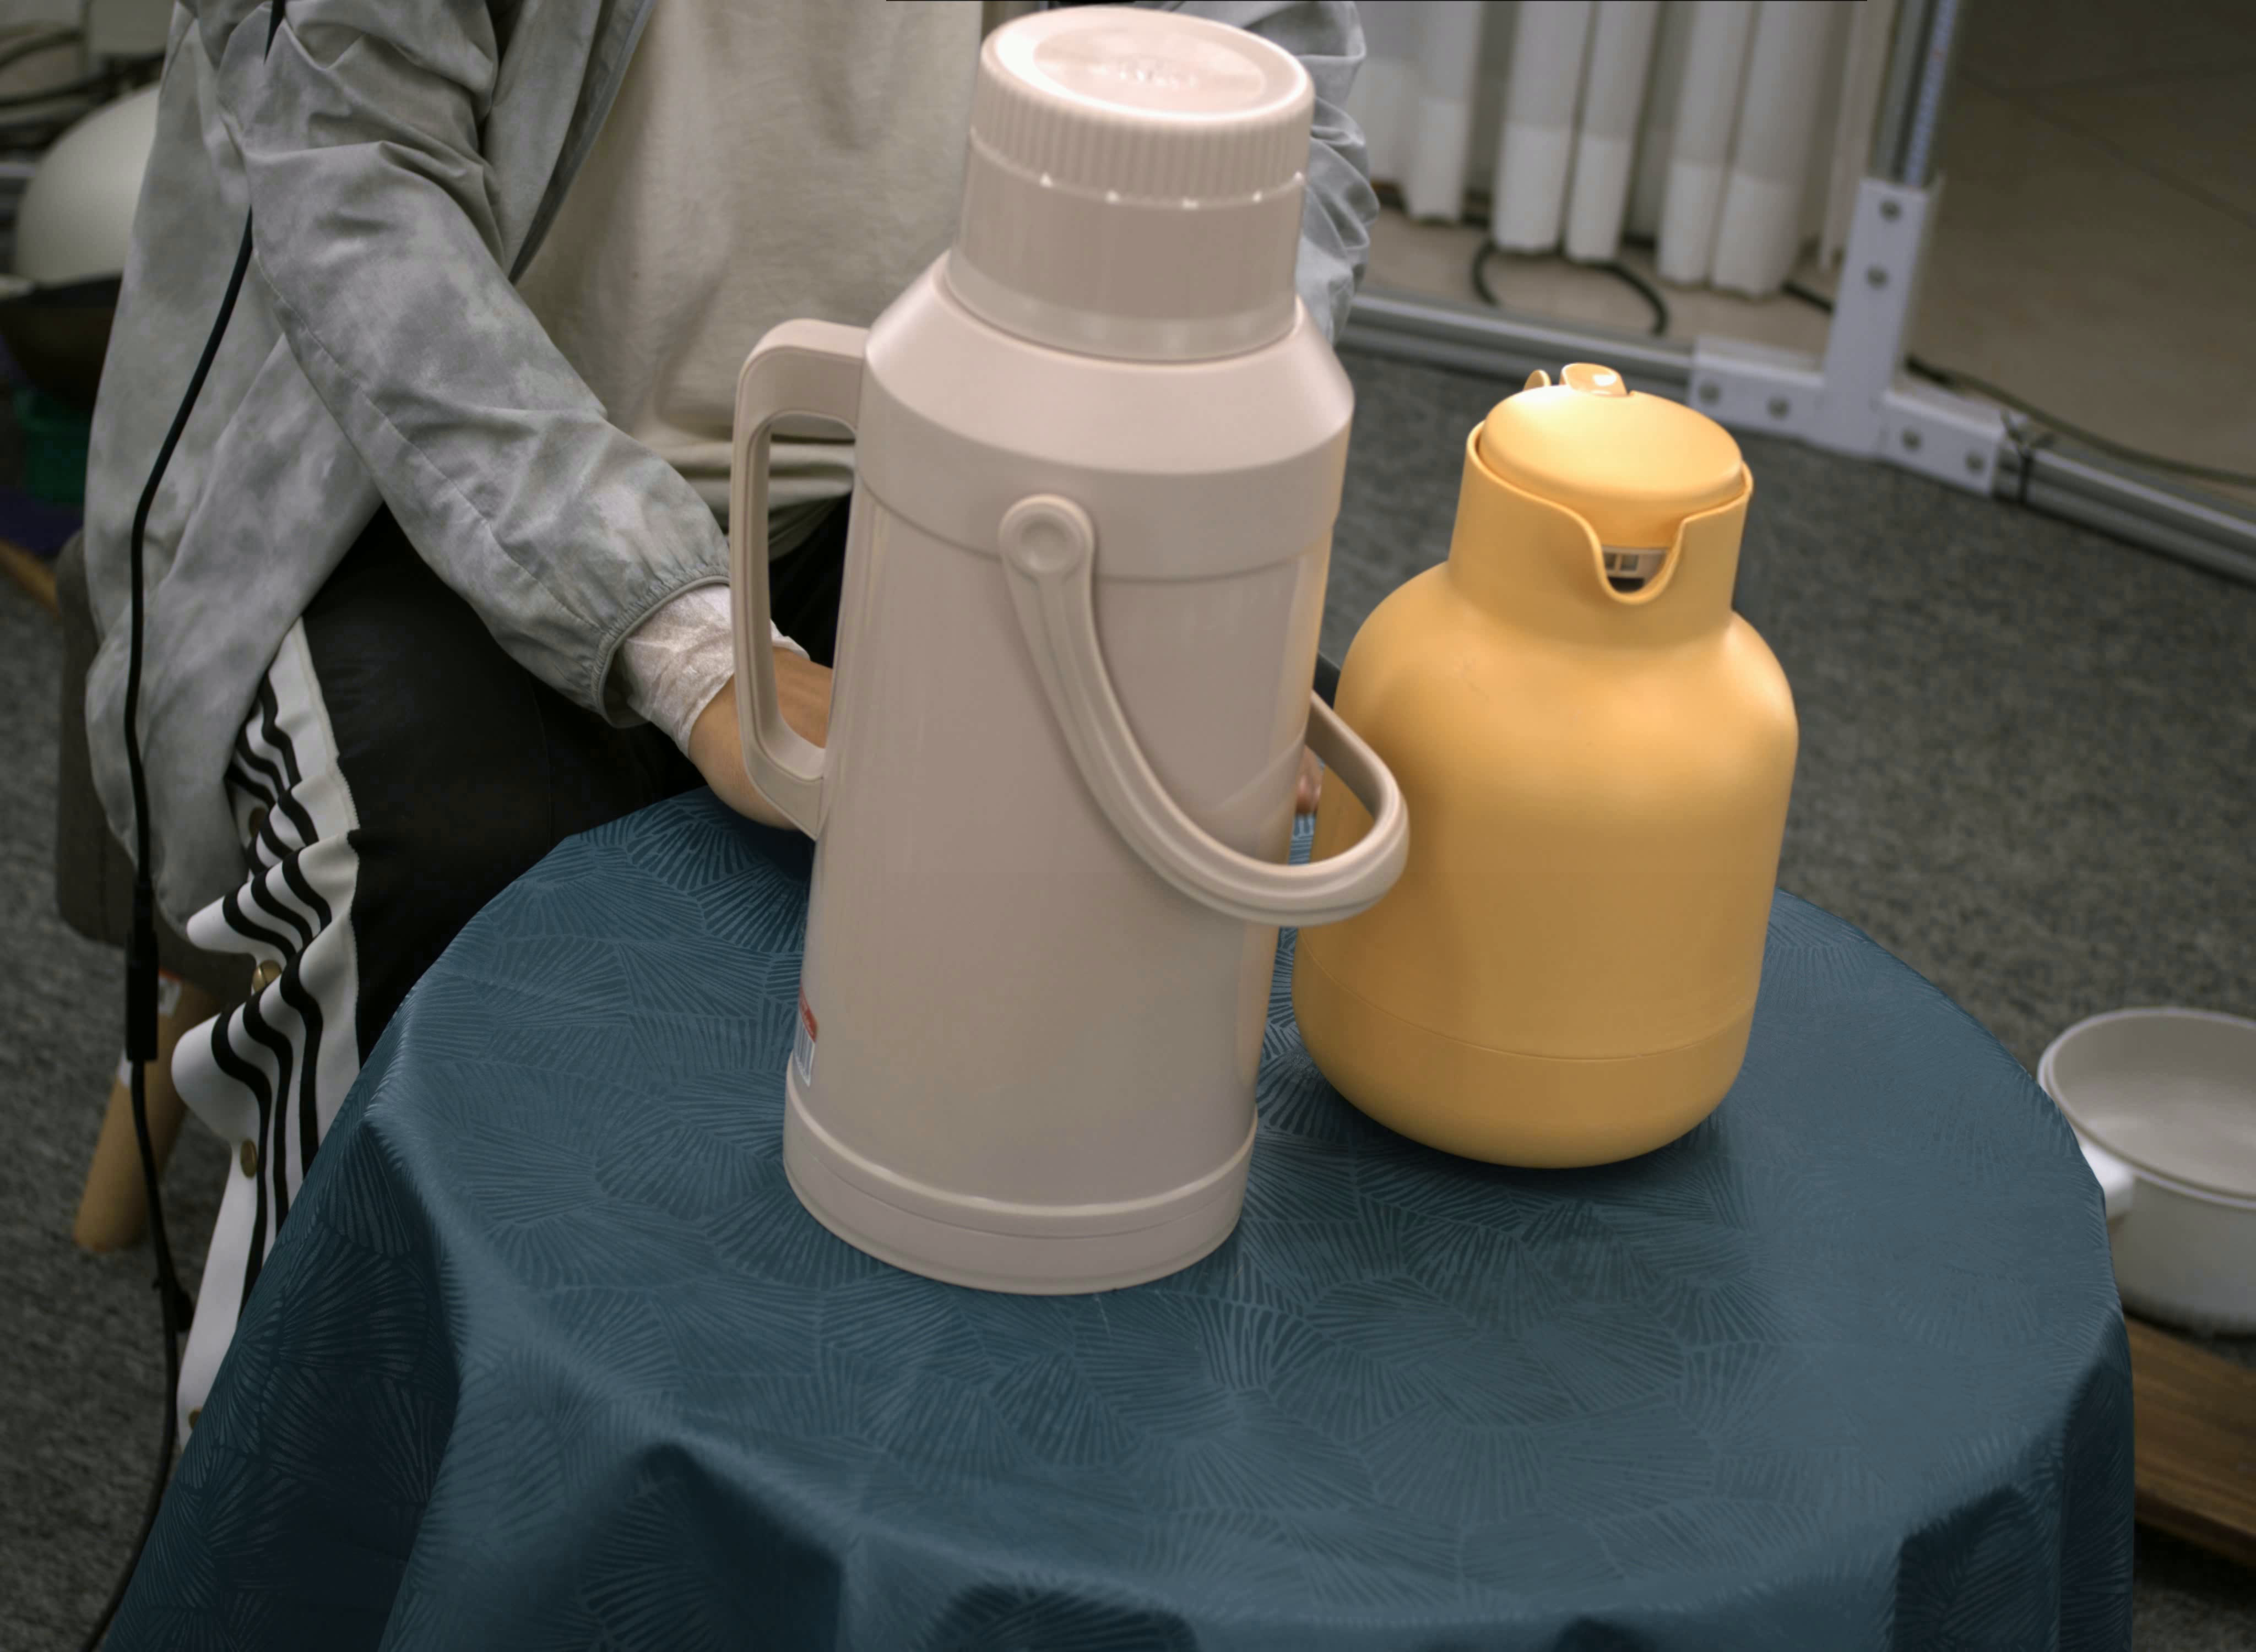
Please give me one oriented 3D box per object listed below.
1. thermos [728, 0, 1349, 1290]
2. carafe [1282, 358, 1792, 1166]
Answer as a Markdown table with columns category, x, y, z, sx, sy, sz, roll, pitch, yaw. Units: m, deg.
| category | x | y | z | sx | sy | sz | roll | pitch | yaw |
| --- | --- | --- | --- | --- | --- | --- | --- | --- | --- |
| thermos | -0.032 | -0.062 | 1.725 | 0.207 | 0.405 | 0.176 | 12 | 27 | 8 |
| carafe | 0.148 | -0.031 | 1.855 | 0.163 | 0.259 | 0.203 | 7 | 27 | -5 |
